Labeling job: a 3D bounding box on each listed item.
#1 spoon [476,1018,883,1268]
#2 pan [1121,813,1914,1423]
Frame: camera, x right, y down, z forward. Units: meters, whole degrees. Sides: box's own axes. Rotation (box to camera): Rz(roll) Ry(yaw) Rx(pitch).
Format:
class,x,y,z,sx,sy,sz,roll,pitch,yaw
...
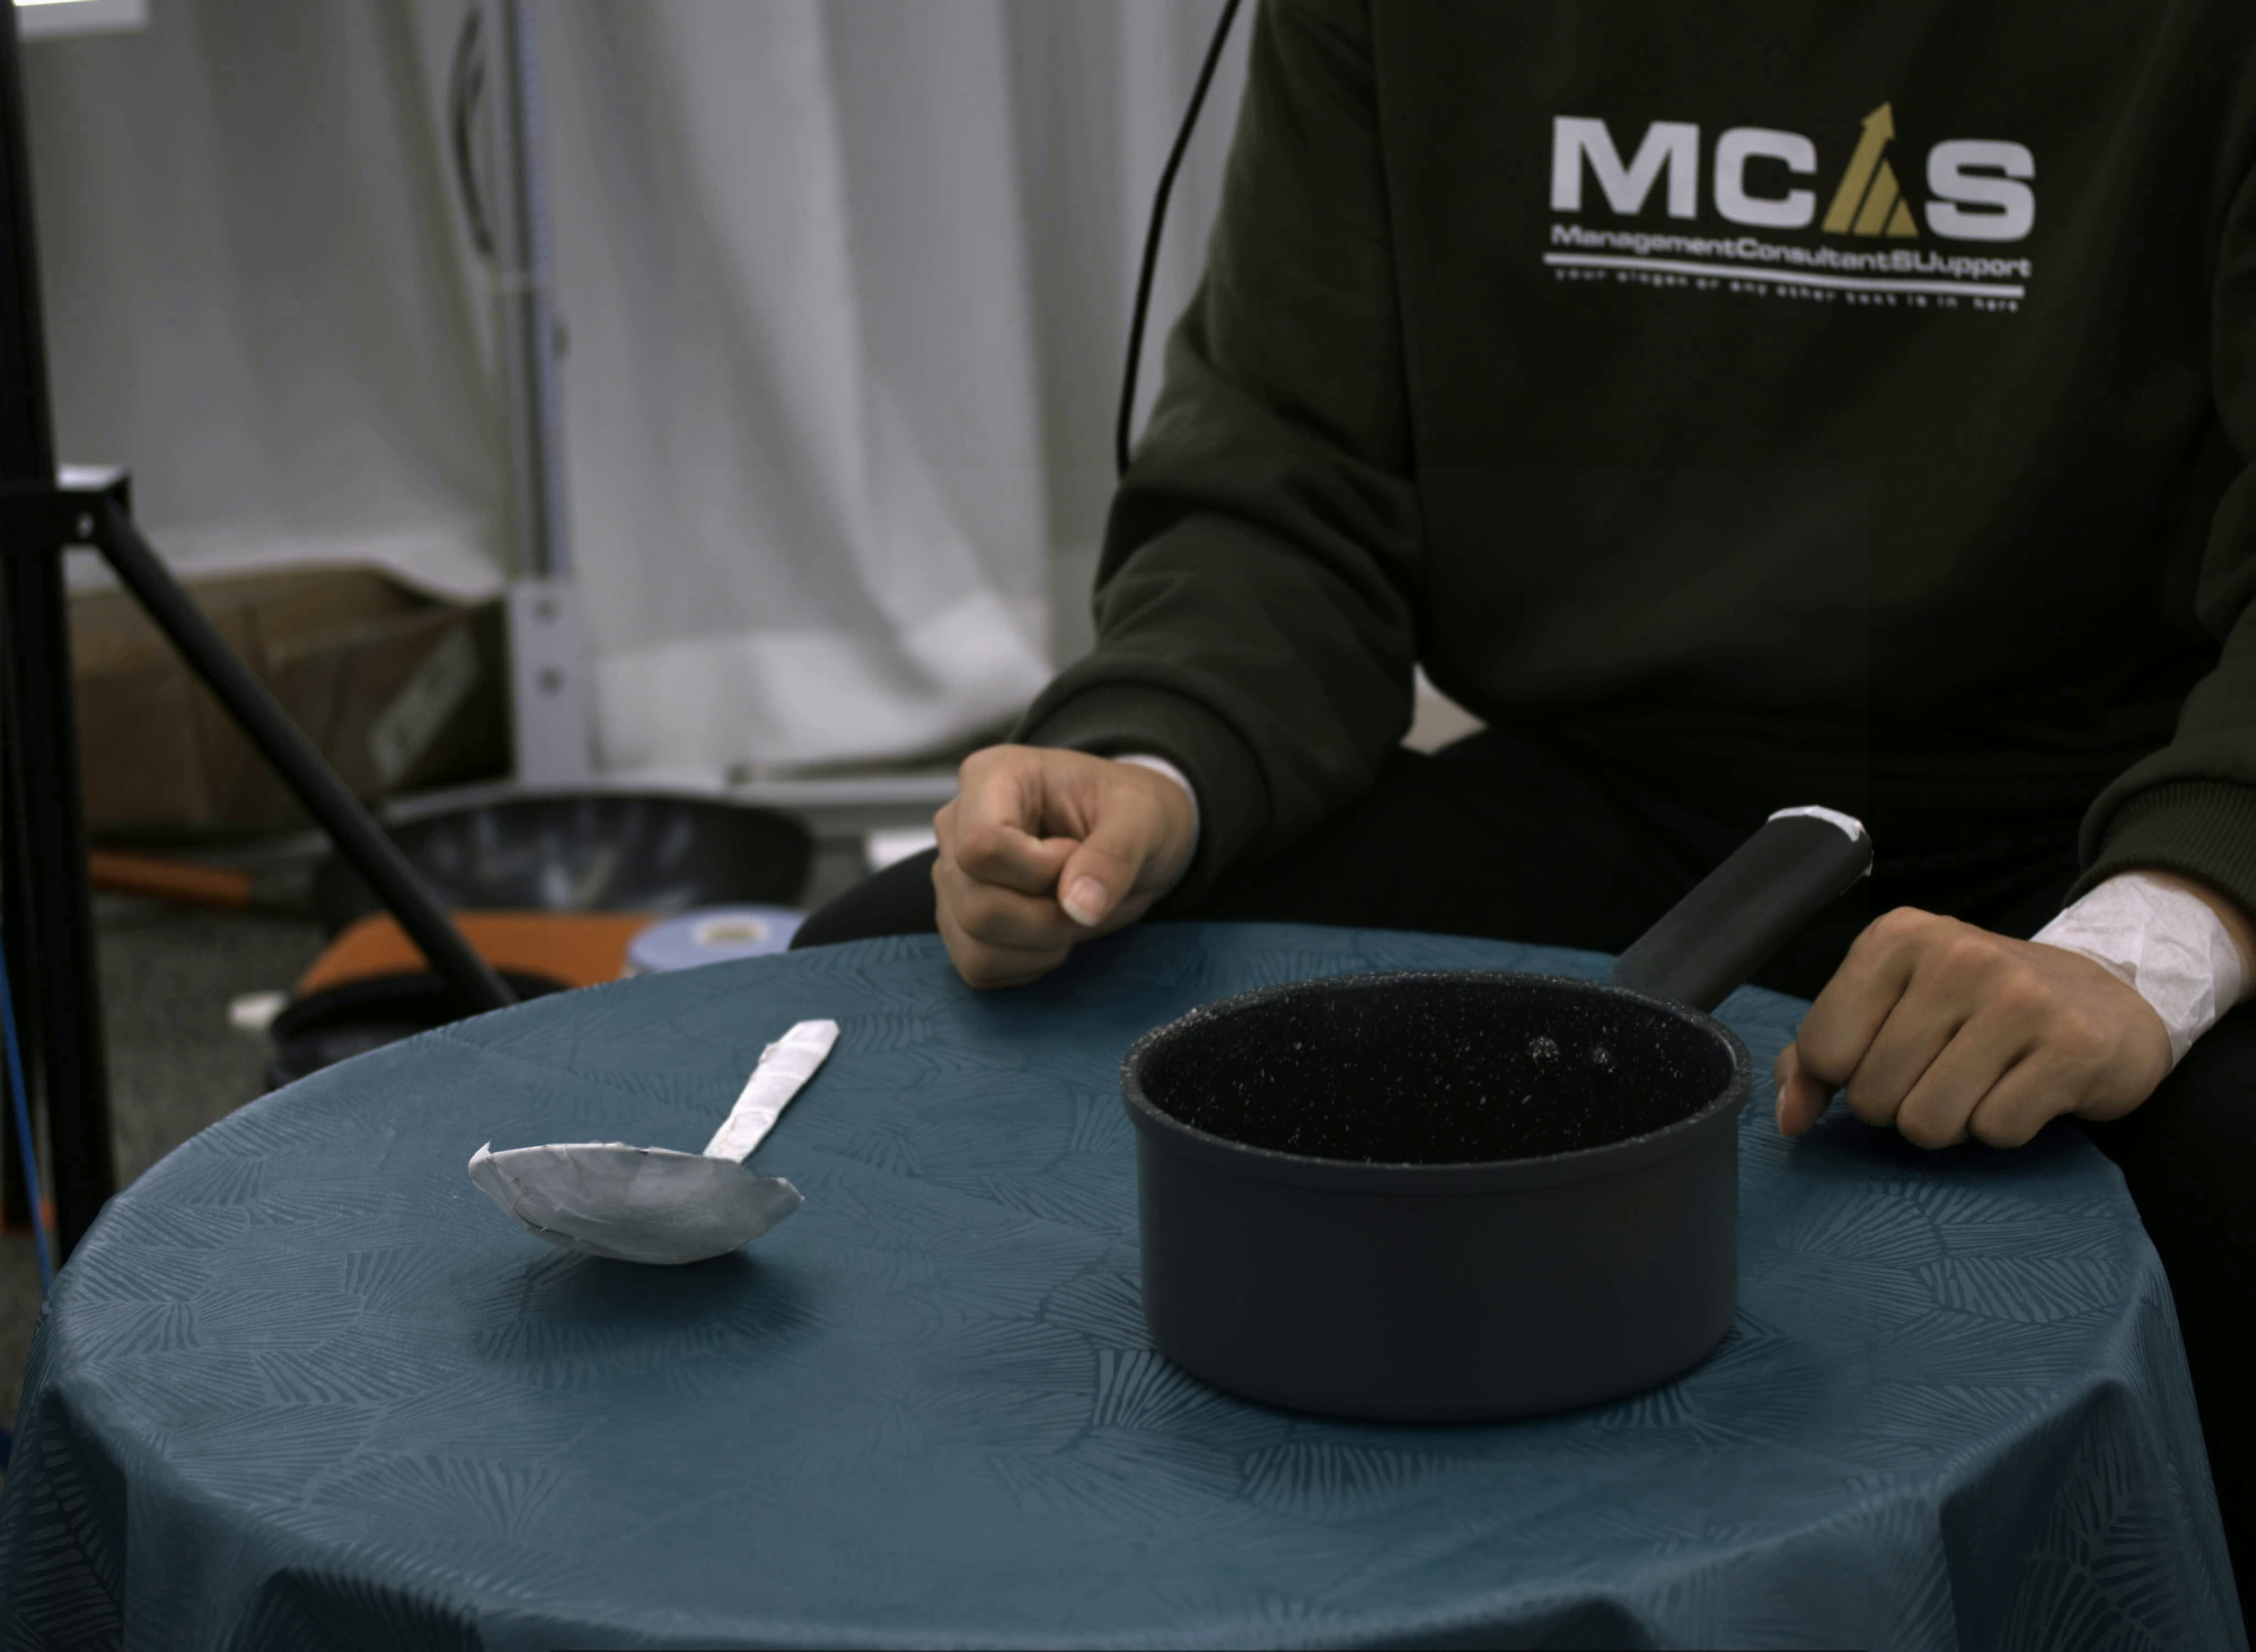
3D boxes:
class,x,y,z,sx,sy,sz,roll,pitch,yaw
spoon,-0.112,0.077,1.591,0.101,0.059,0.275,4,16,13
pan,0.130,0.078,1.495,0.175,0.086,0.322,10,21,35
